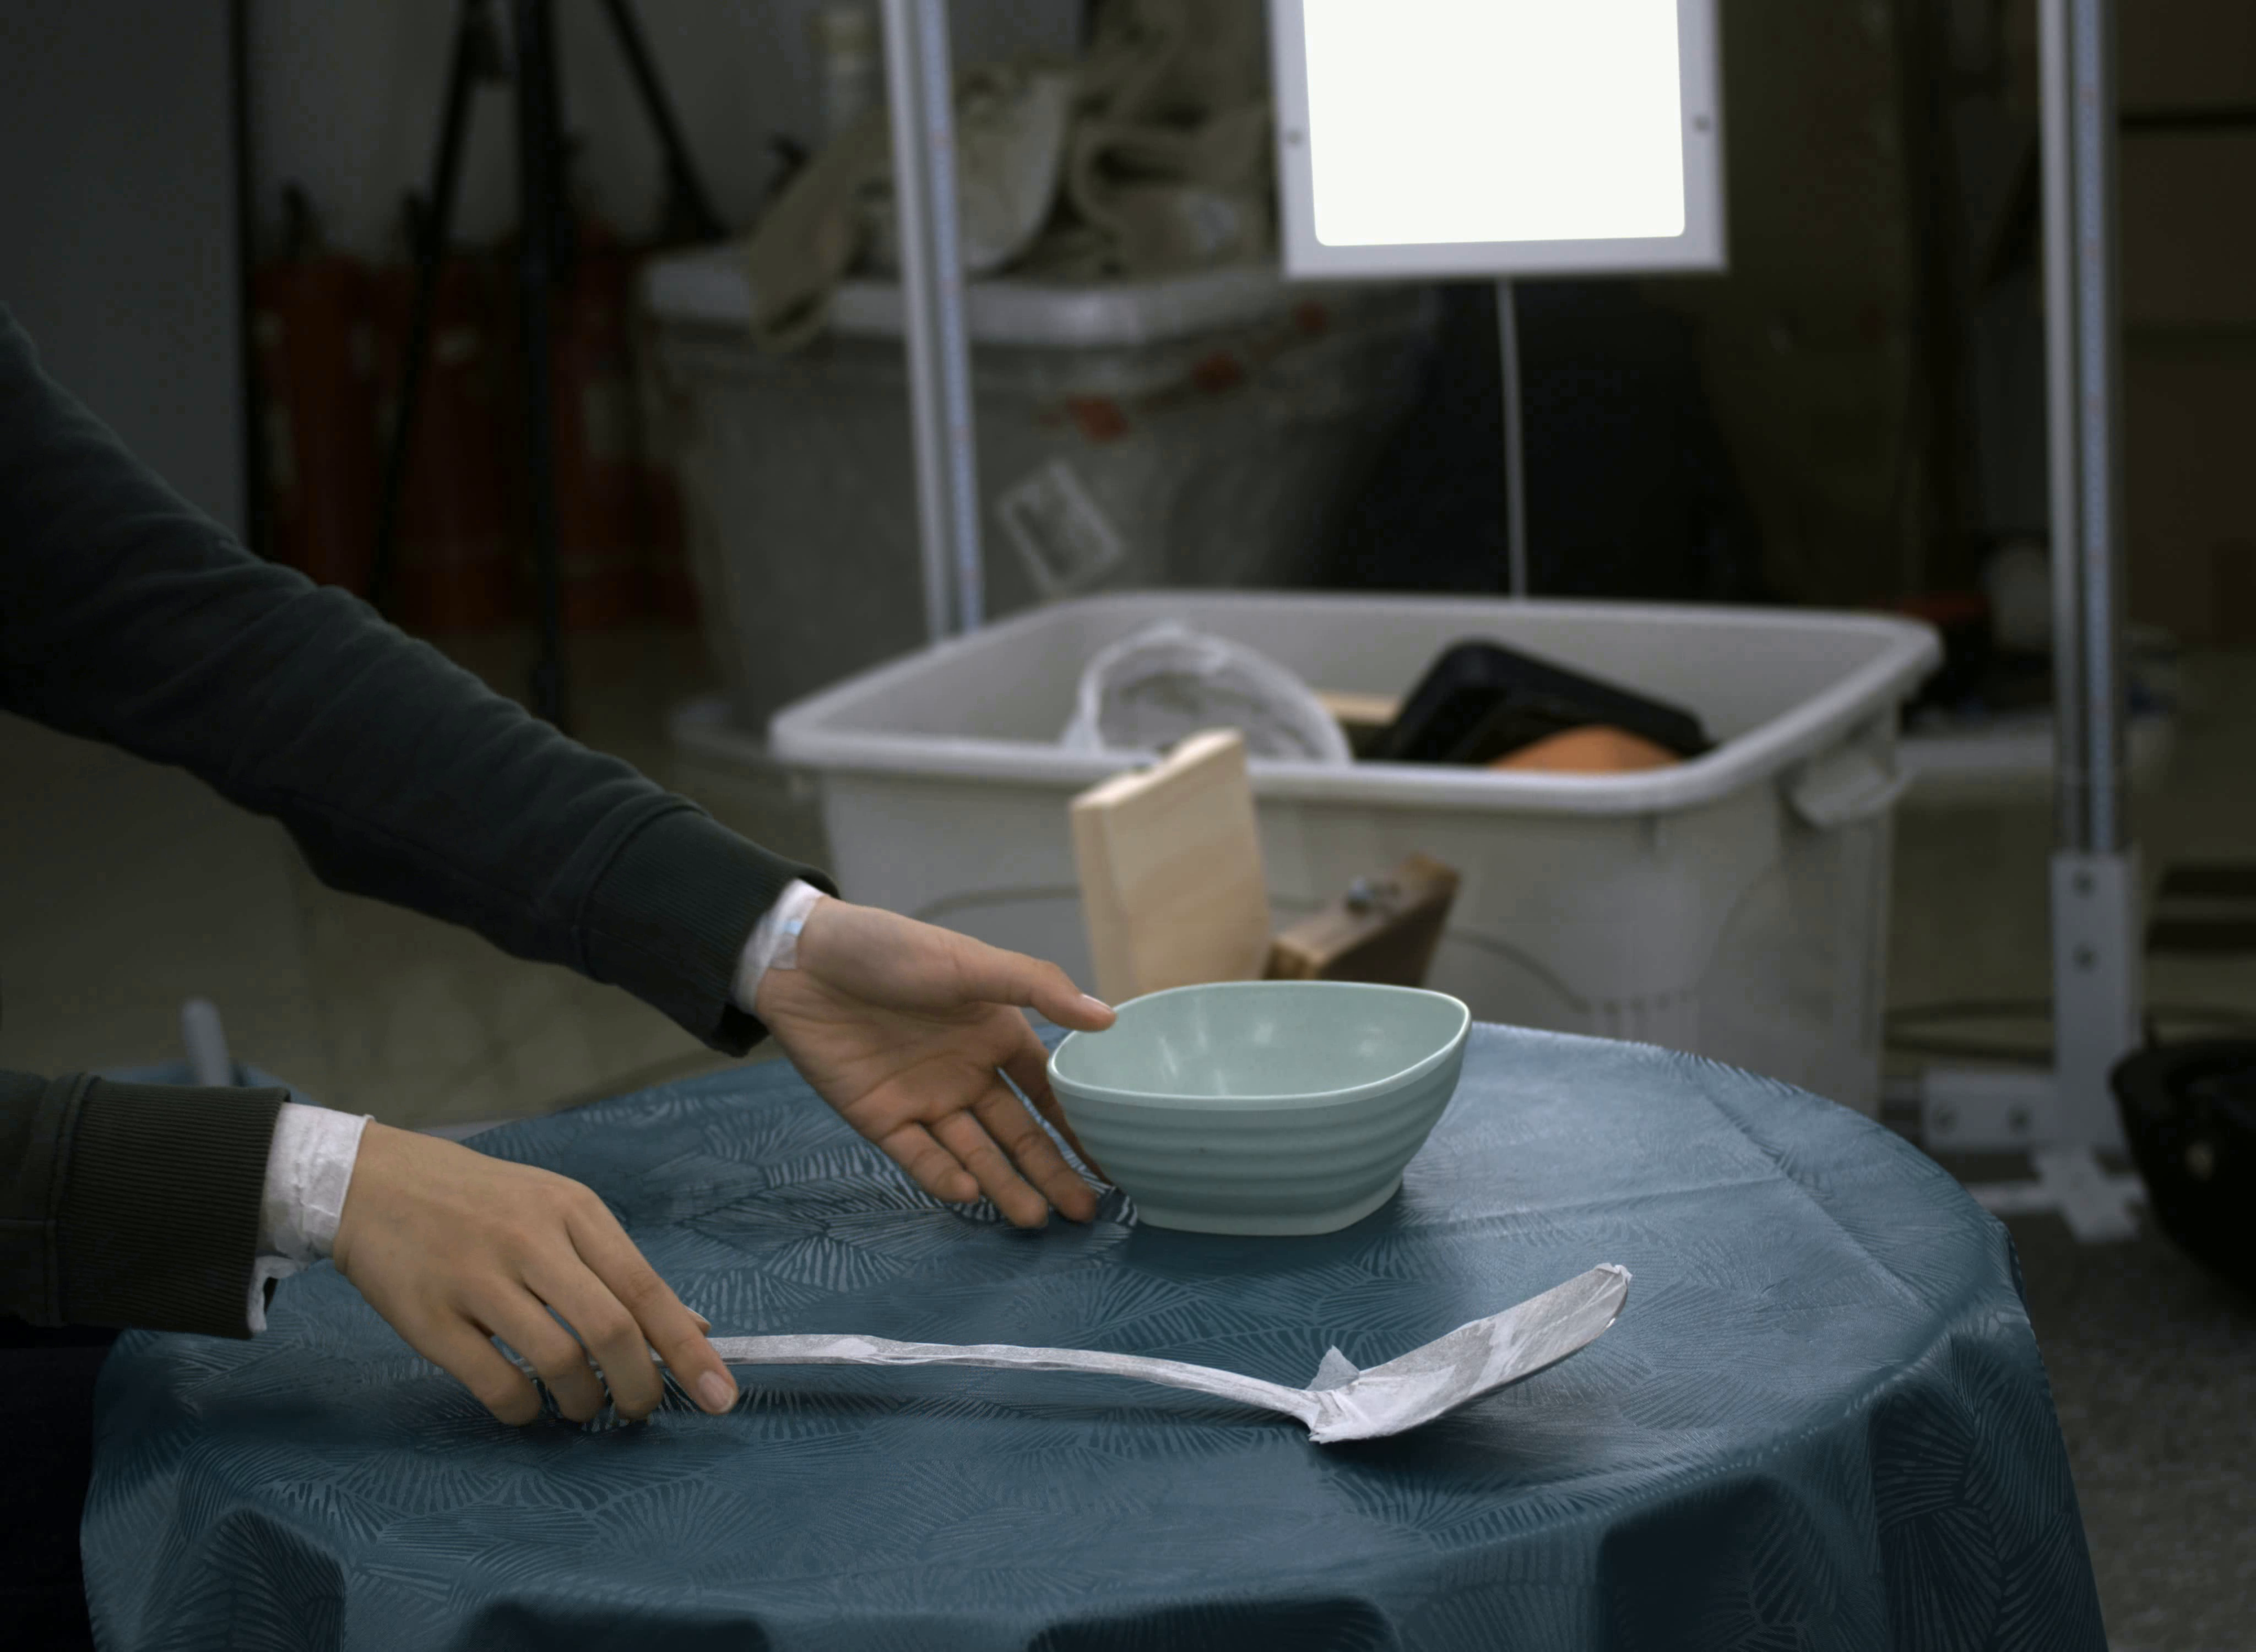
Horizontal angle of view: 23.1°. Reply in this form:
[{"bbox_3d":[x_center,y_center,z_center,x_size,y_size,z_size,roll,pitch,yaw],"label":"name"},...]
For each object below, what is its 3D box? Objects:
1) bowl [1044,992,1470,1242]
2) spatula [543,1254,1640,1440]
[{"bbox_3d":[0.046,0.101,1.871,0.151,0.059,0.151,-4,12,-1],"label":"bowl"},{"bbox_3d":[-0.022,0.159,1.692,0.370,0.045,0.097,1,17,21],"label":"spatula"}]
